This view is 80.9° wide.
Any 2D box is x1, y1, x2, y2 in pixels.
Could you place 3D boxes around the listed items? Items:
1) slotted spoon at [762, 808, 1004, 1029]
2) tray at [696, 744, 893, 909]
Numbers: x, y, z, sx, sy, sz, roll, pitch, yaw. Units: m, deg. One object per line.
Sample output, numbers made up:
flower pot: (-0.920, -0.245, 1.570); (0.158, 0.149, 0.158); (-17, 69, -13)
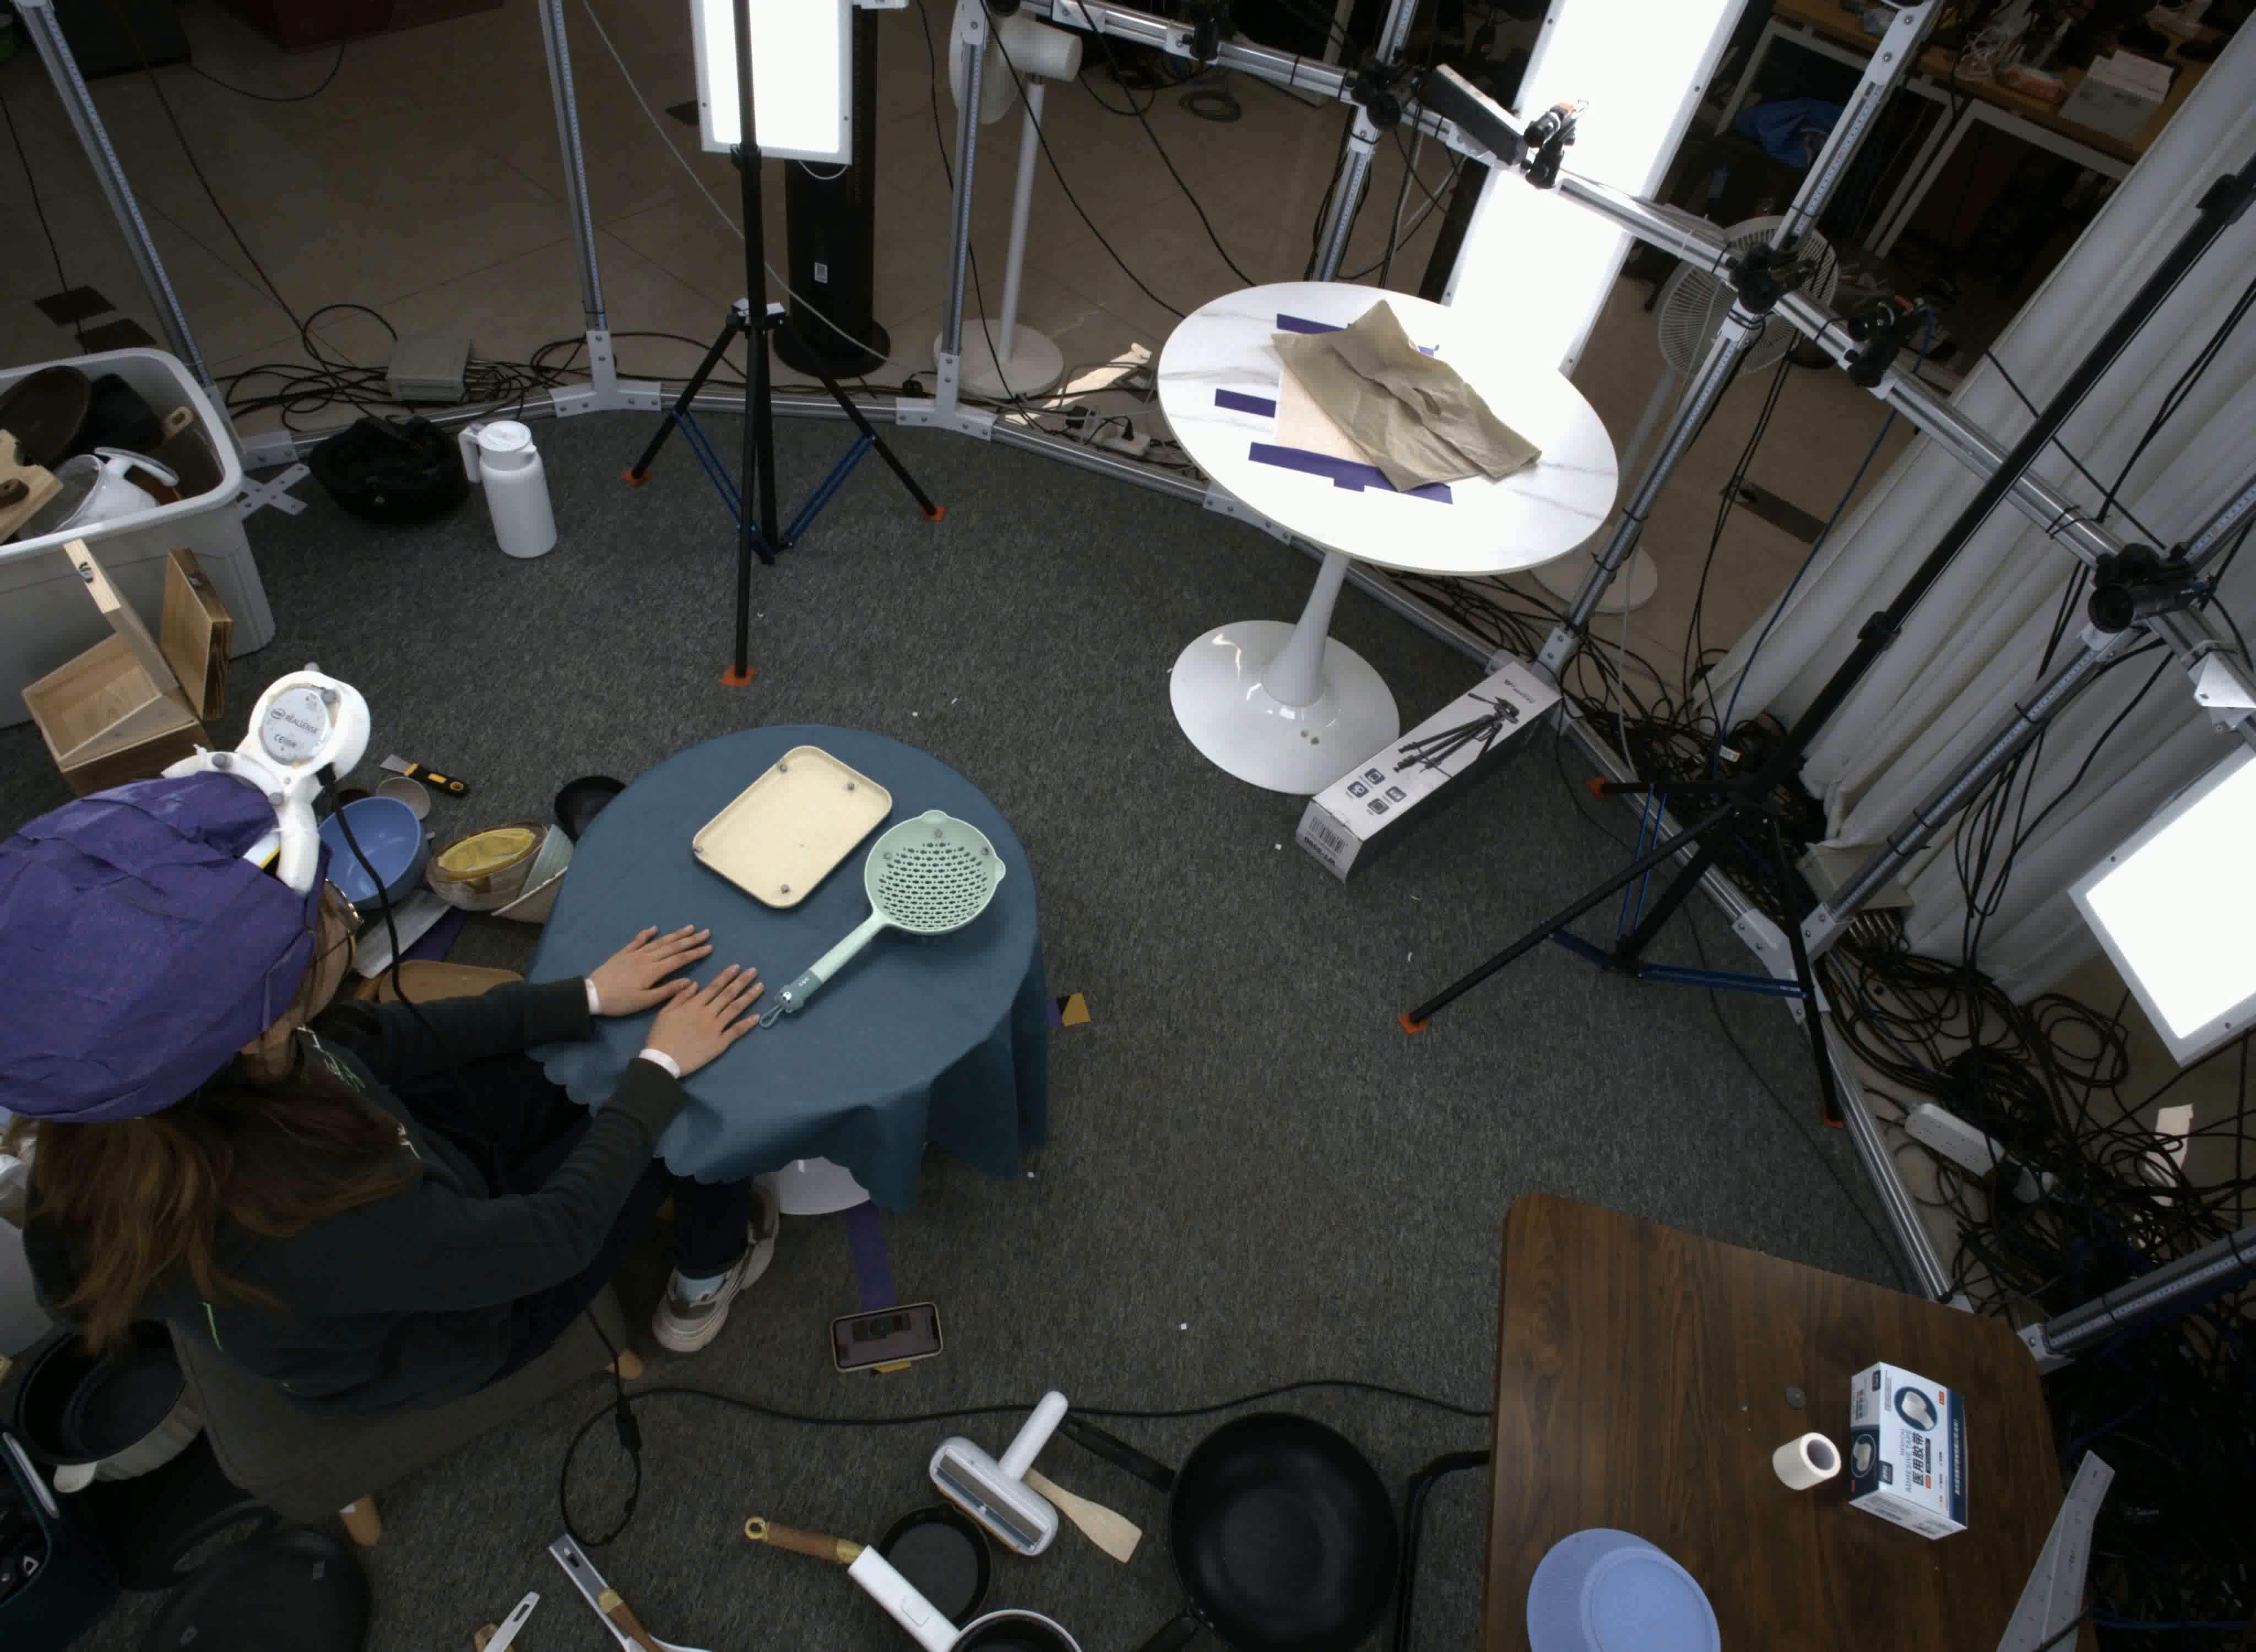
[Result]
slotted spoon: (-0.315, 0.122, 1.626); (0.165, 0.077, 0.359); (39, 55, 17)
tray: (-0.439, -0.002, 1.716); (0.168, 0.018, 0.239); (31, 54, 10)
